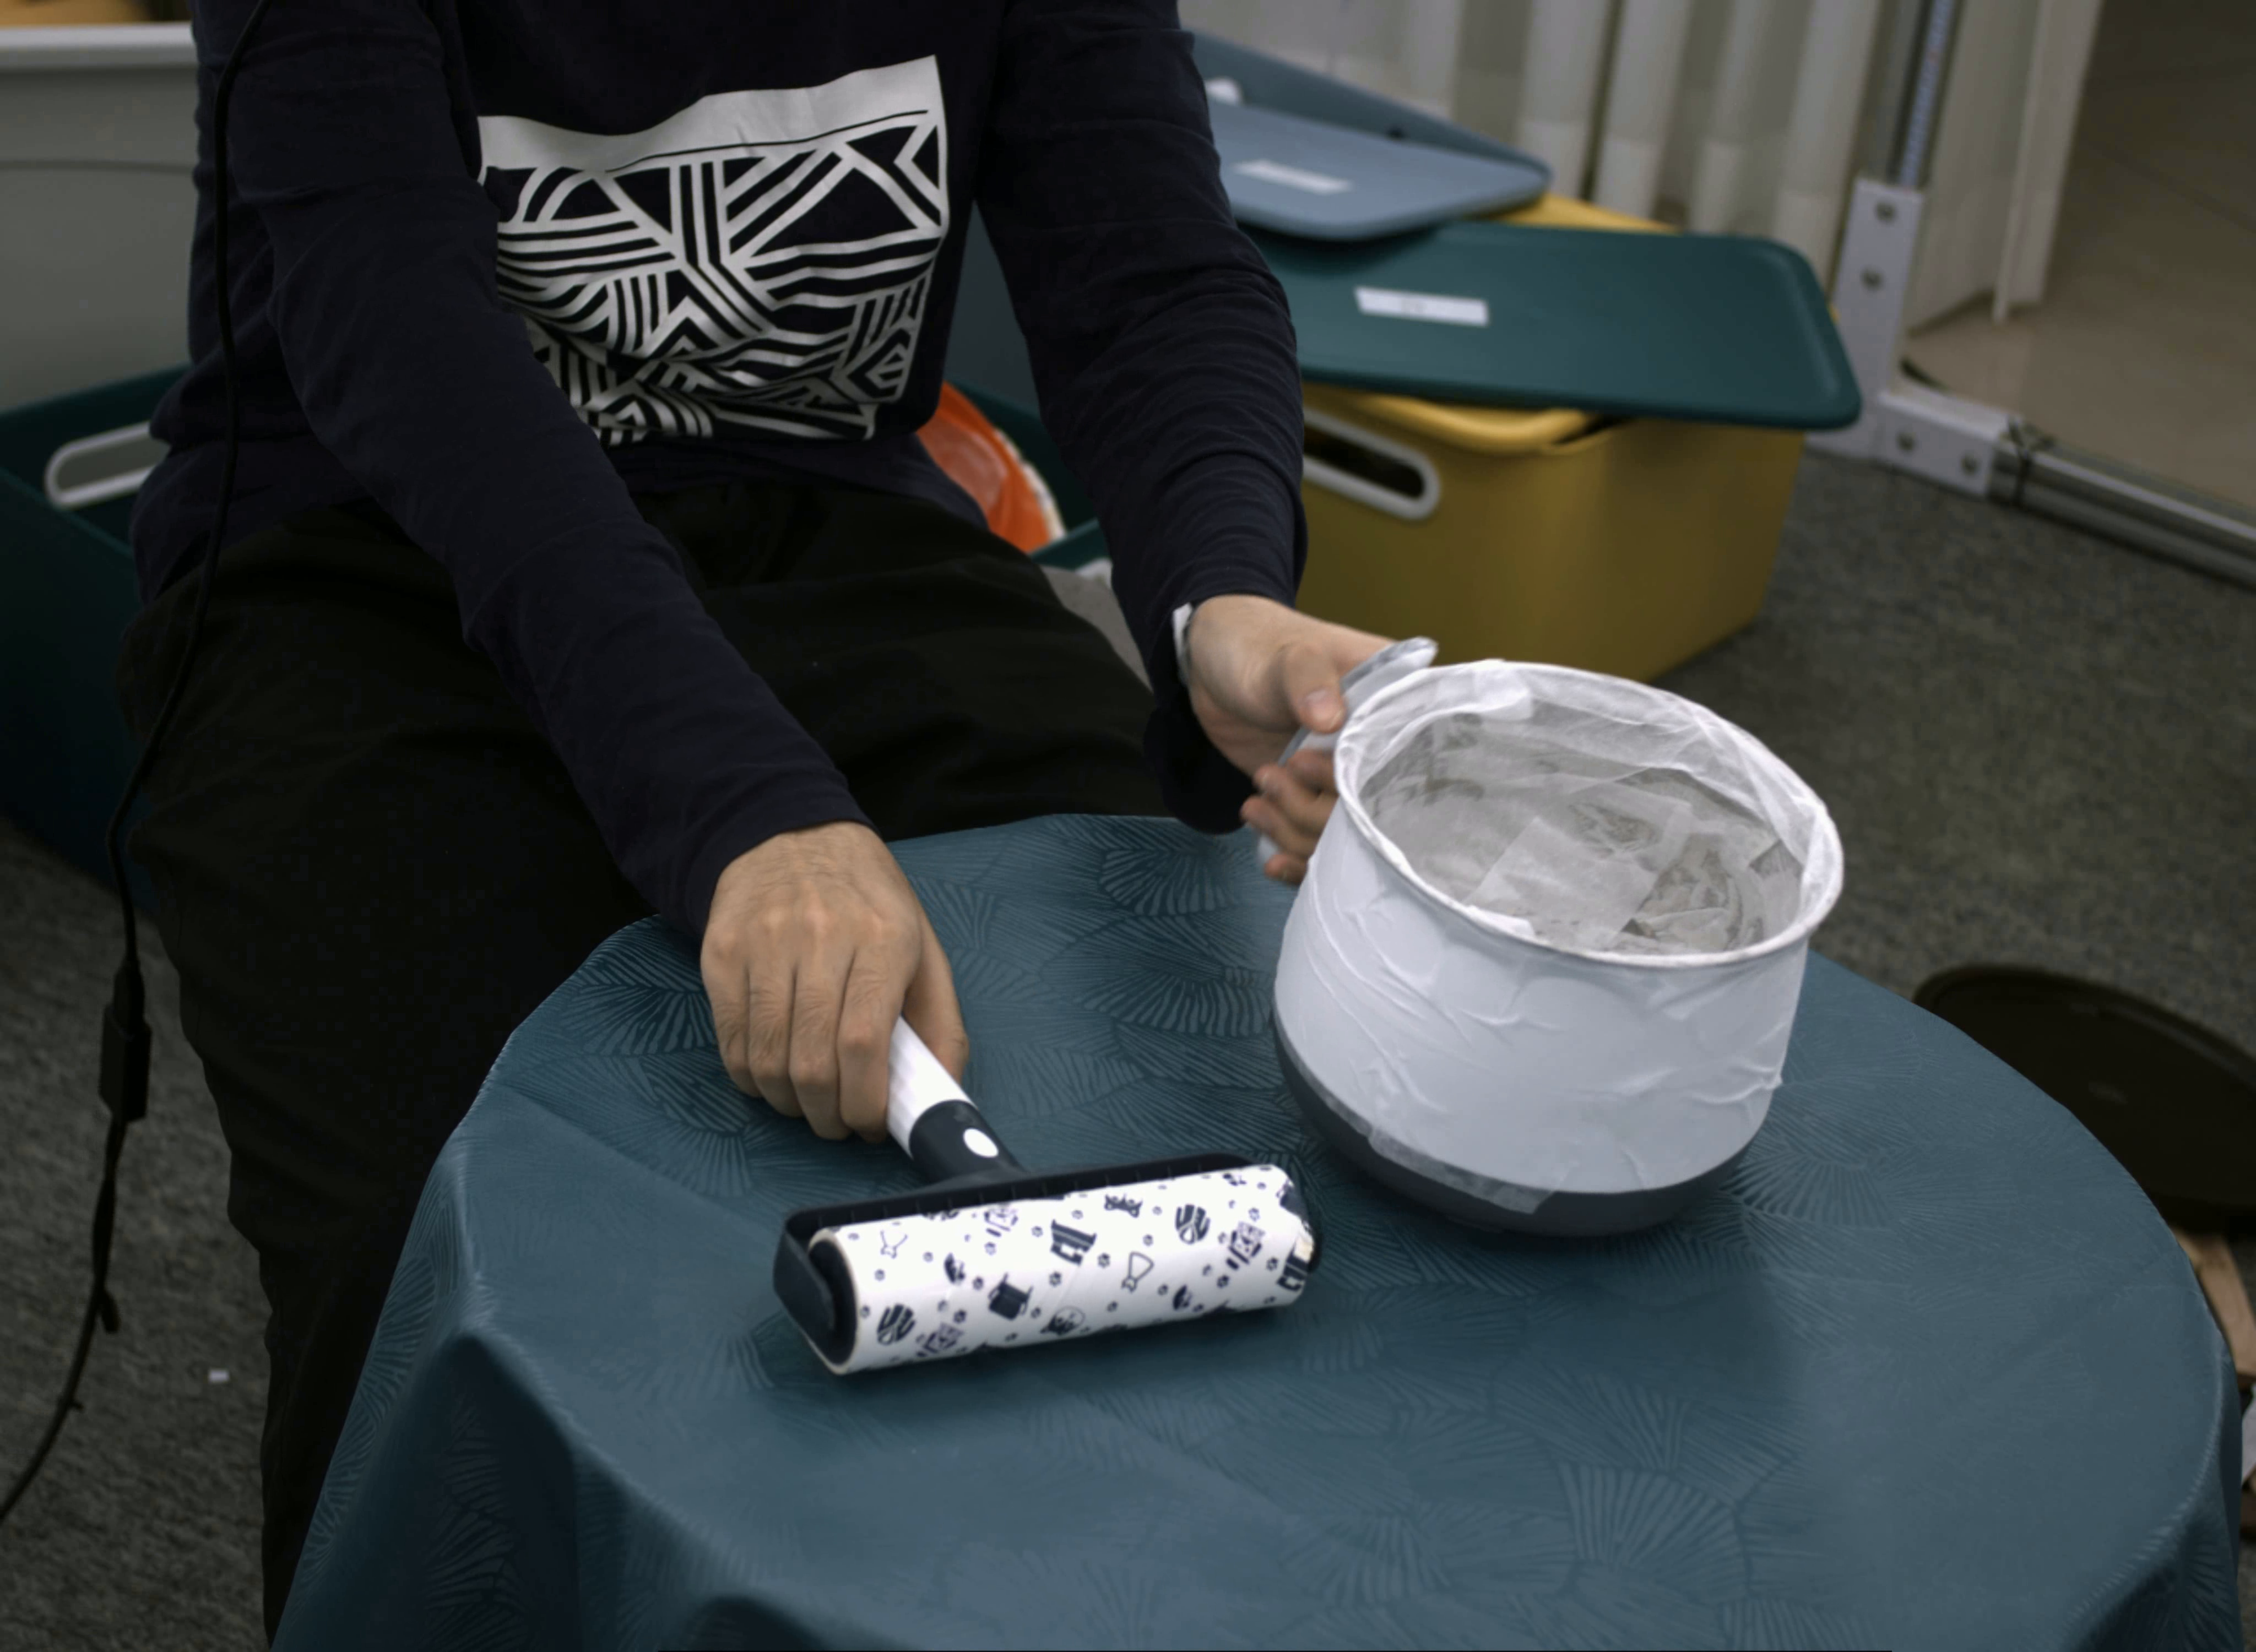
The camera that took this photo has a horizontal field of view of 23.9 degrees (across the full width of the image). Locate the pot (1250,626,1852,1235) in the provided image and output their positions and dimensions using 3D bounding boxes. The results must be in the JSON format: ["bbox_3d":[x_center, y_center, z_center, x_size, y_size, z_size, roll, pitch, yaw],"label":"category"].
[{"bbox_3d":[0.128,0.028,1.842,0.177,0.136,0.236,-11,41,-37],"label":"pot"}]

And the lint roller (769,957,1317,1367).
[{"bbox_3d":[-0.067,0.098,1.793,0.175,0.050,0.249,-8,28,-24],"label":"lint roller"}]
